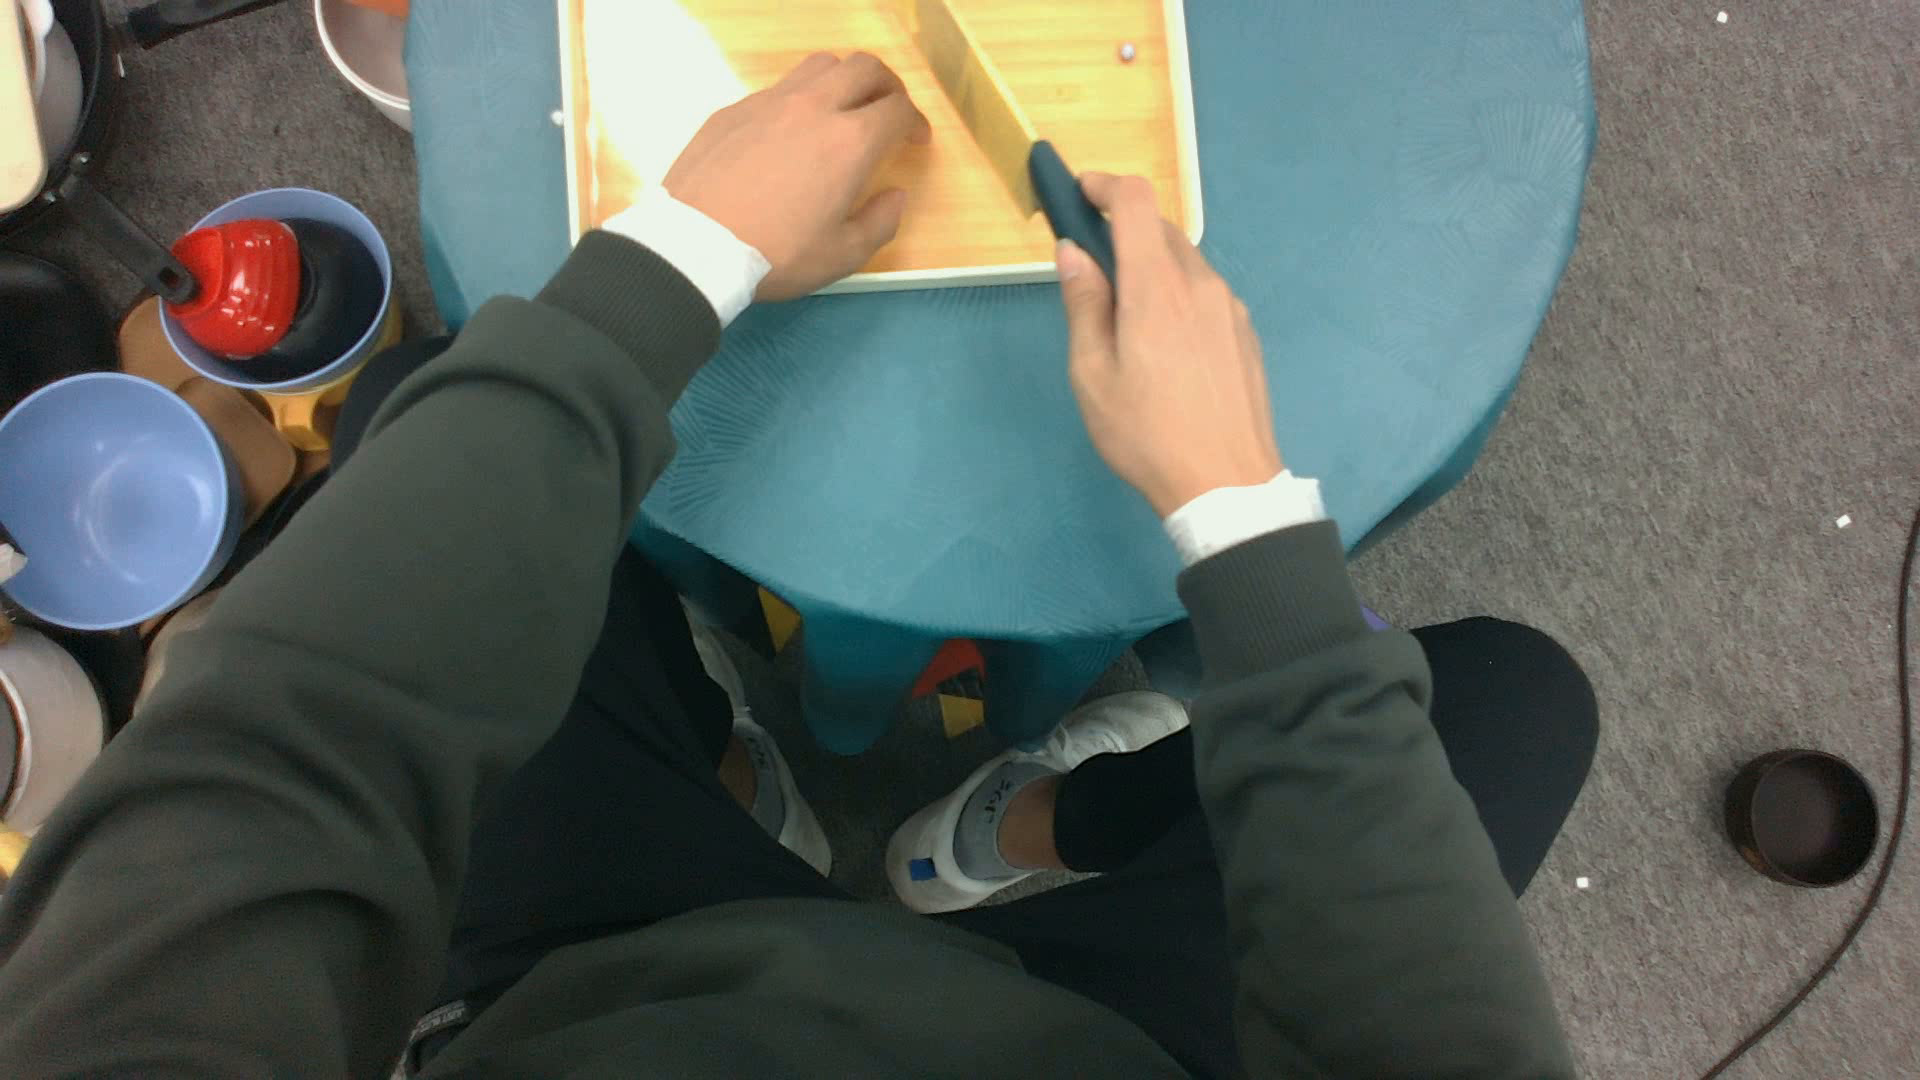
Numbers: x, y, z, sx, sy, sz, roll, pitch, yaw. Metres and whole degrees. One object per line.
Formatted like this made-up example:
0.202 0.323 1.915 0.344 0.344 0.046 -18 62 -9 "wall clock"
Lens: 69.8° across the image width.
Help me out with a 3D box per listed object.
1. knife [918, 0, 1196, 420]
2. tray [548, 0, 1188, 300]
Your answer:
0.024 -0.179 0.607 0.027 0.081 0.289 -29 87 -5 "knife"
-0.045 -0.219 0.675 0.300 0.027 0.192 -4 84 -5 "tray"
